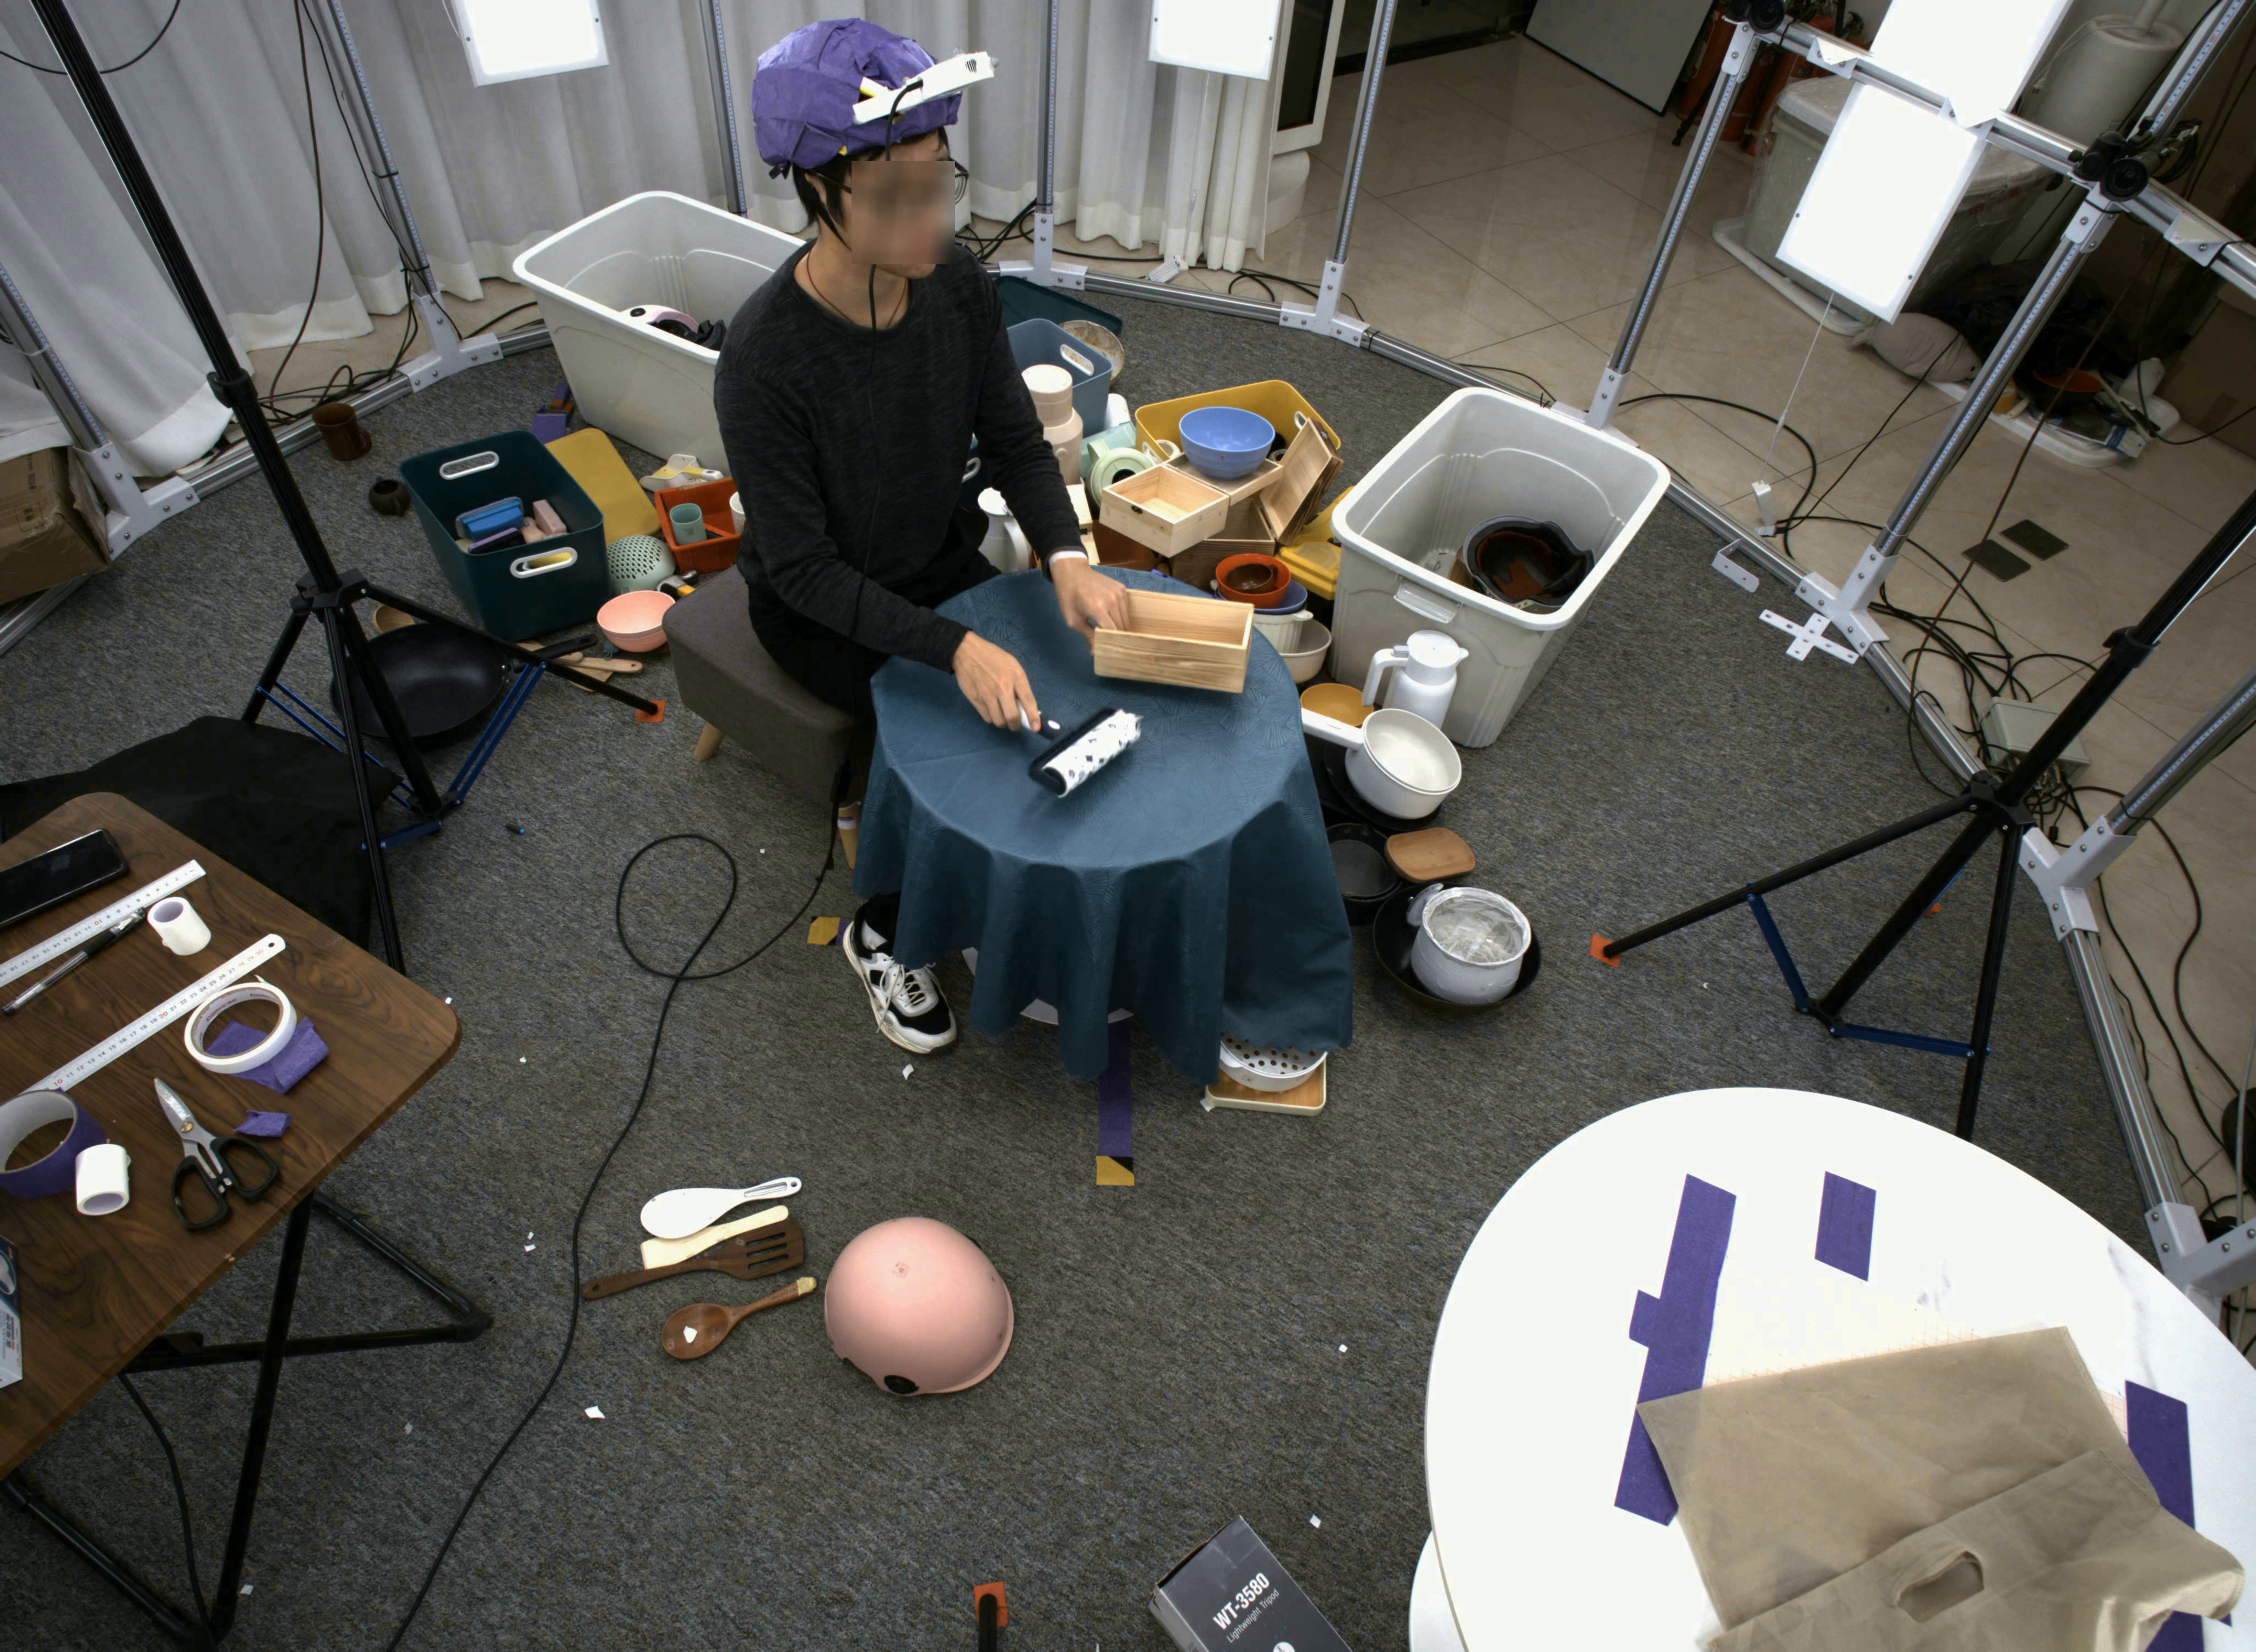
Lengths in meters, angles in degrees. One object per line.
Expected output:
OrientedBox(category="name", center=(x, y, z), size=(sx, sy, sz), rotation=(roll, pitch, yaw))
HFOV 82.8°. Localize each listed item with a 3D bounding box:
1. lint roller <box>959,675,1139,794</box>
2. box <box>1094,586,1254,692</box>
OrientedBox(category="lint roller", center=(-0.130, -0.149, 1.730), size=(0.250, 0.049, 0.178), rotation=(30, 48, 21))
OrientedBox(category="box", center=(0.065, -0.266, 1.816), size=(0.212, 0.078, 0.110), rotation=(8, 45, 7))
